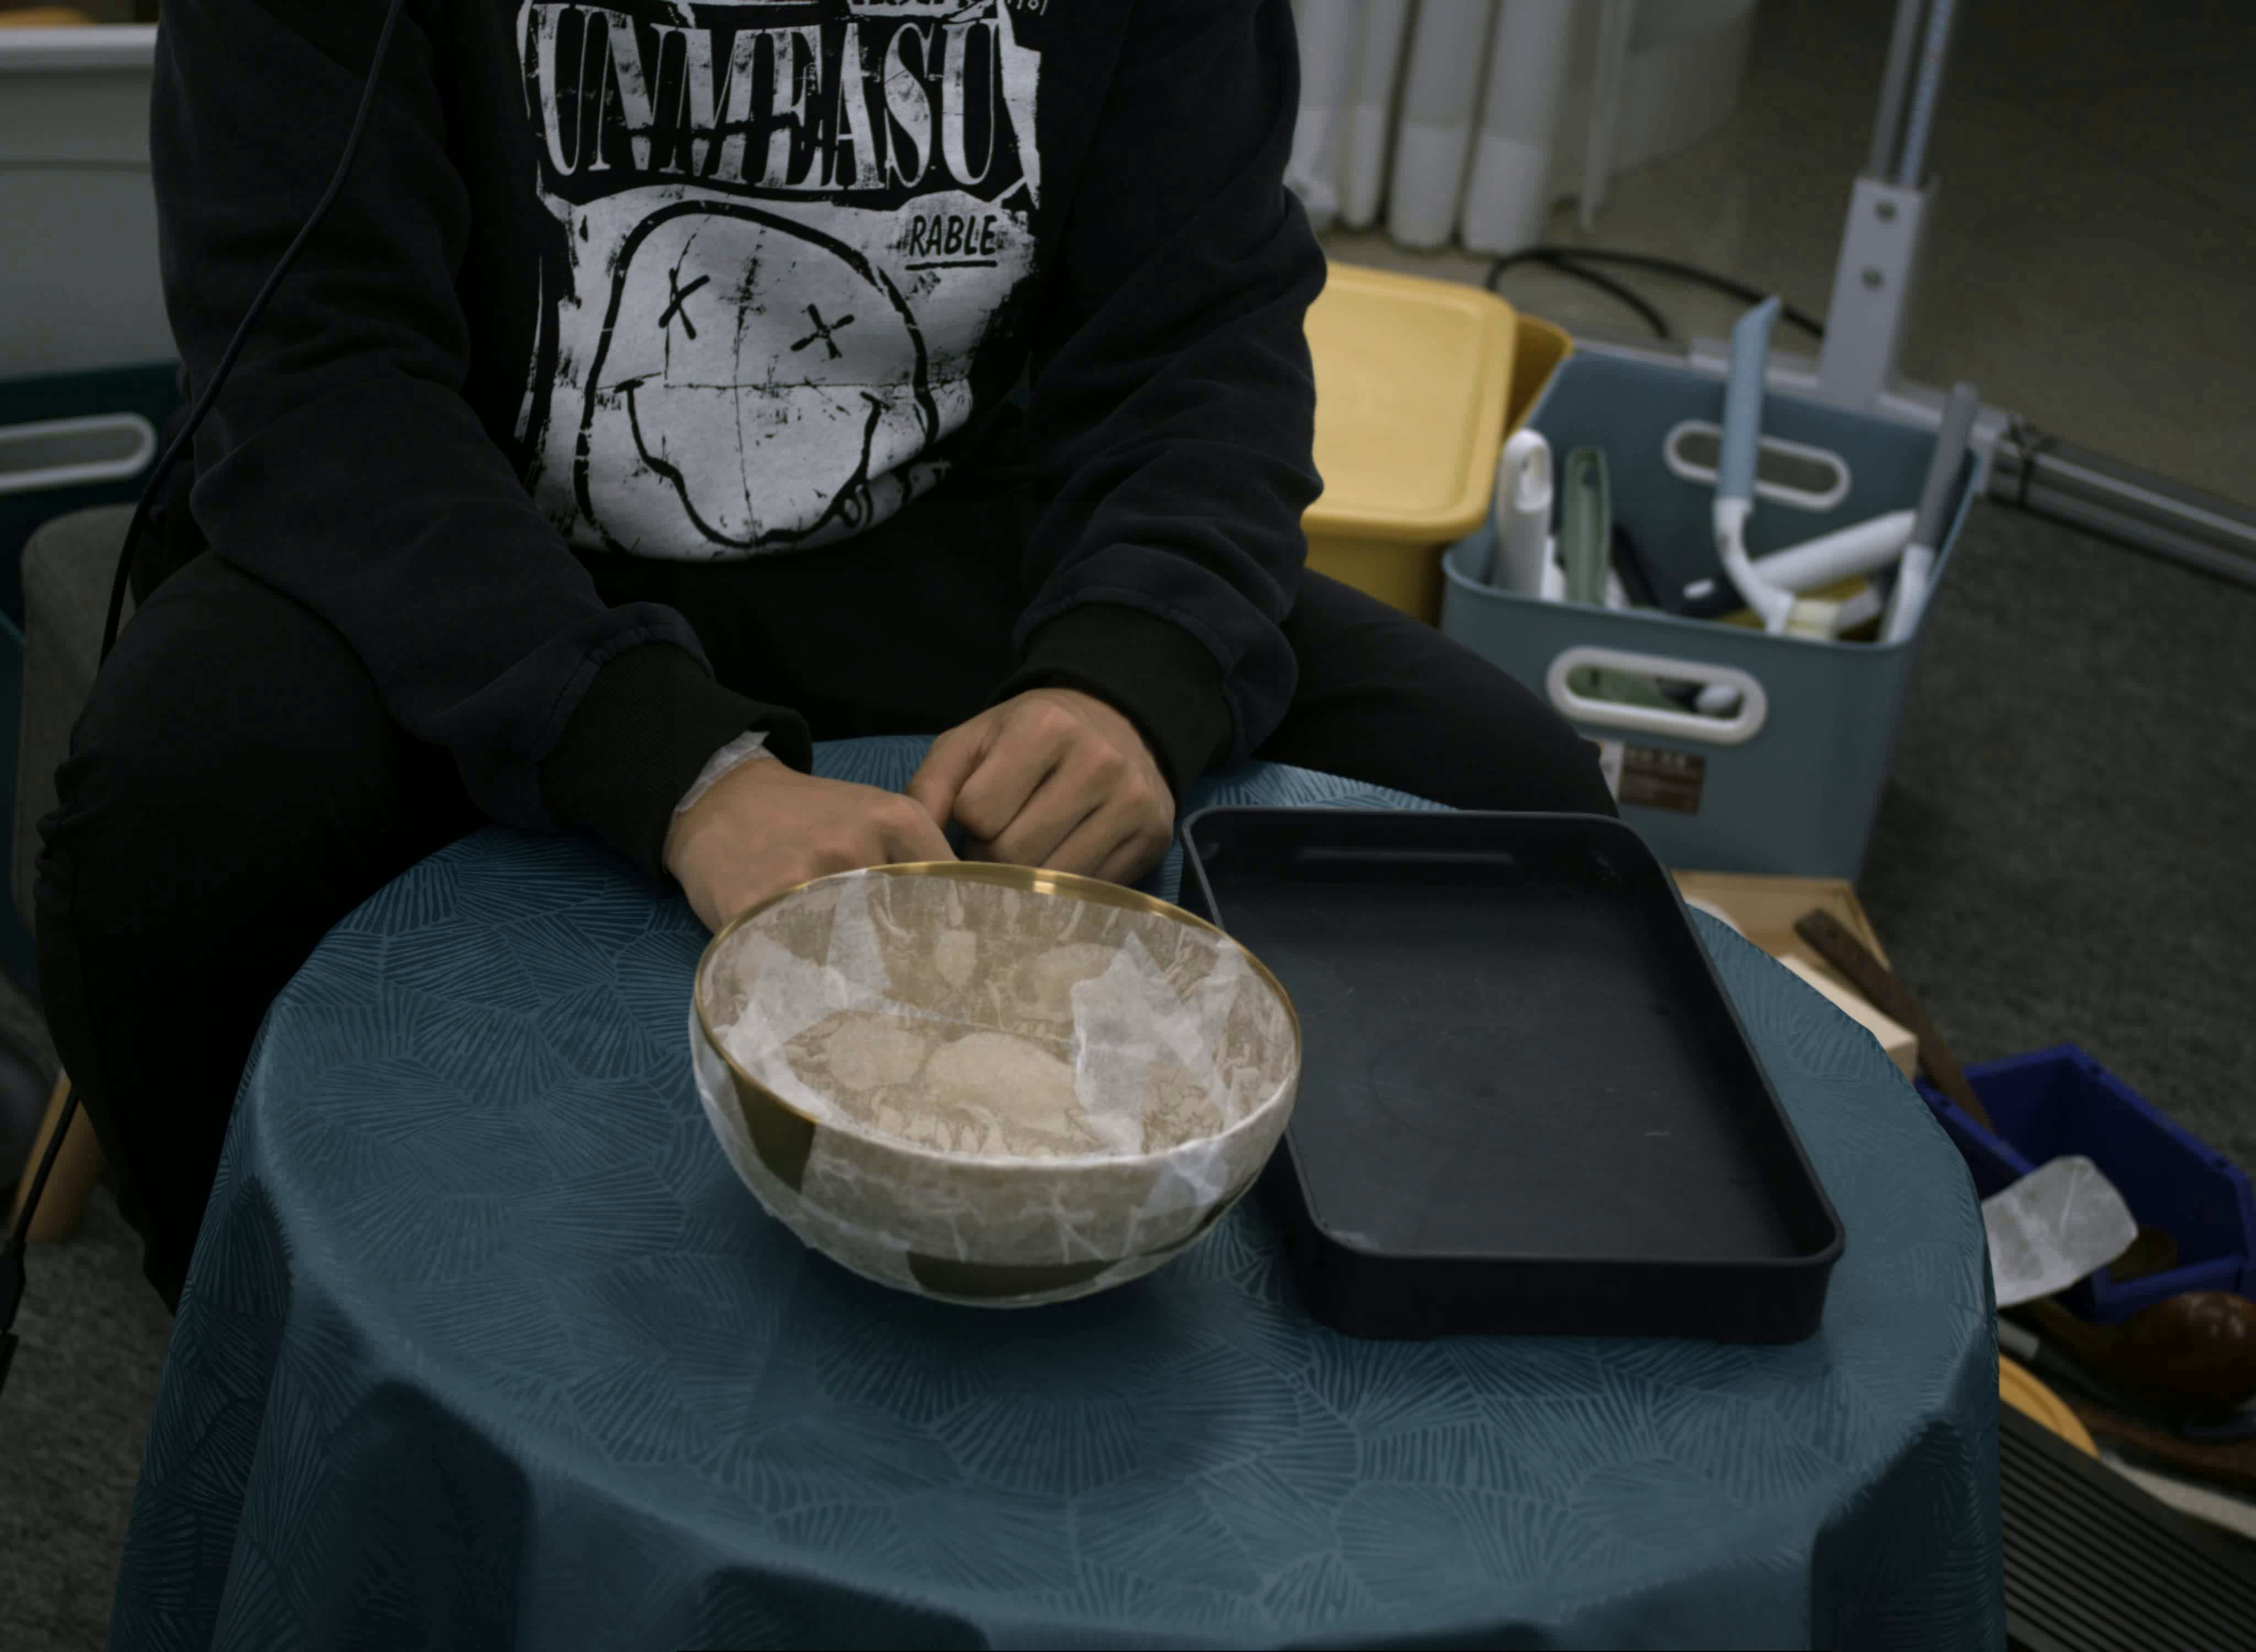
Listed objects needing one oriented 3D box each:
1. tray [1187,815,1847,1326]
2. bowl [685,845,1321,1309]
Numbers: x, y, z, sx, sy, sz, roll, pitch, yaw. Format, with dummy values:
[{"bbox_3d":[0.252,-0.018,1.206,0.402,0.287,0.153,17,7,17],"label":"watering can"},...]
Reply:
[{"bbox_3d":[0.128,0.080,1.869,0.183,0.037,0.320,1,25,-8],"label":"tray"},{"bbox_3d":[-0.045,0.095,1.745,0.214,0.094,0.216,4,27,-2],"label":"bowl"}]
